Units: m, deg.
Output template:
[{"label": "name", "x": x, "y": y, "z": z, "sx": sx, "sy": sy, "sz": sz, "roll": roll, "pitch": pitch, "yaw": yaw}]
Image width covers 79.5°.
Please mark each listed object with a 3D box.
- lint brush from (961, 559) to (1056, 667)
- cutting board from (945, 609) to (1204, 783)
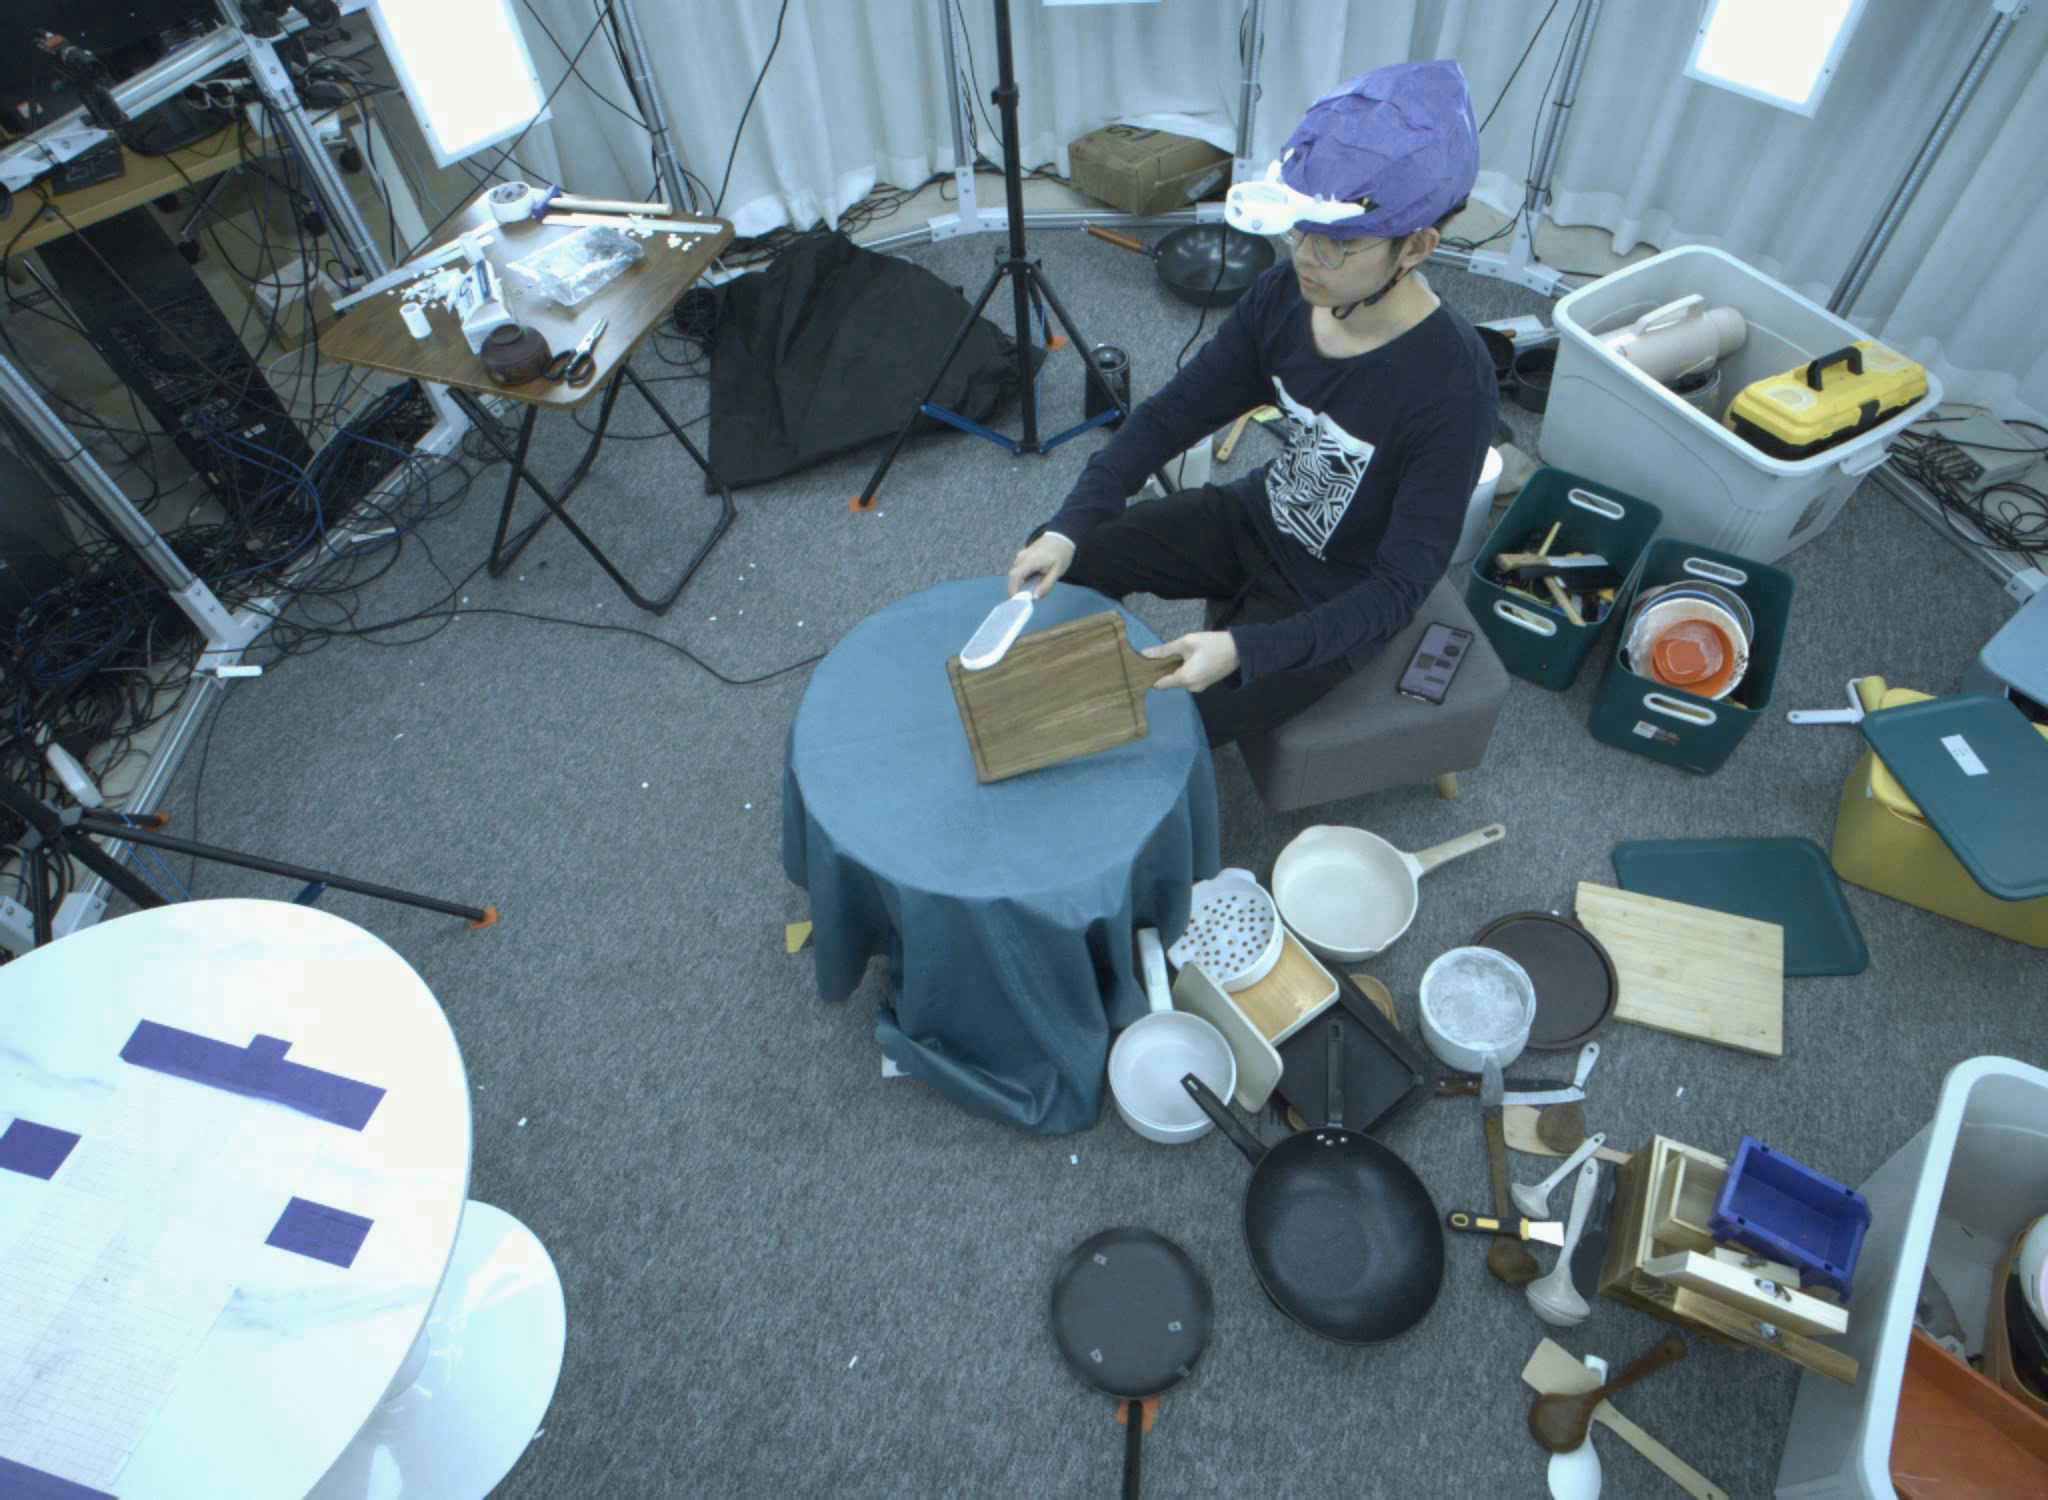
[{"label": "lint brush", "x": -0.013, "y": -0.197, "z": 1.724, "sx": 0.059, "sy": 0.021, "sz": 0.309, "roll": -6, "pitch": 30, "yaw": 27}, {"label": "cutting board", "x": 0.082, "y": -0.086, "z": 1.724, "sx": 0.353, "sy": 0.203, "sz": 0.023, "roll": -16, "pitch": 28, "yaw": -3}]
